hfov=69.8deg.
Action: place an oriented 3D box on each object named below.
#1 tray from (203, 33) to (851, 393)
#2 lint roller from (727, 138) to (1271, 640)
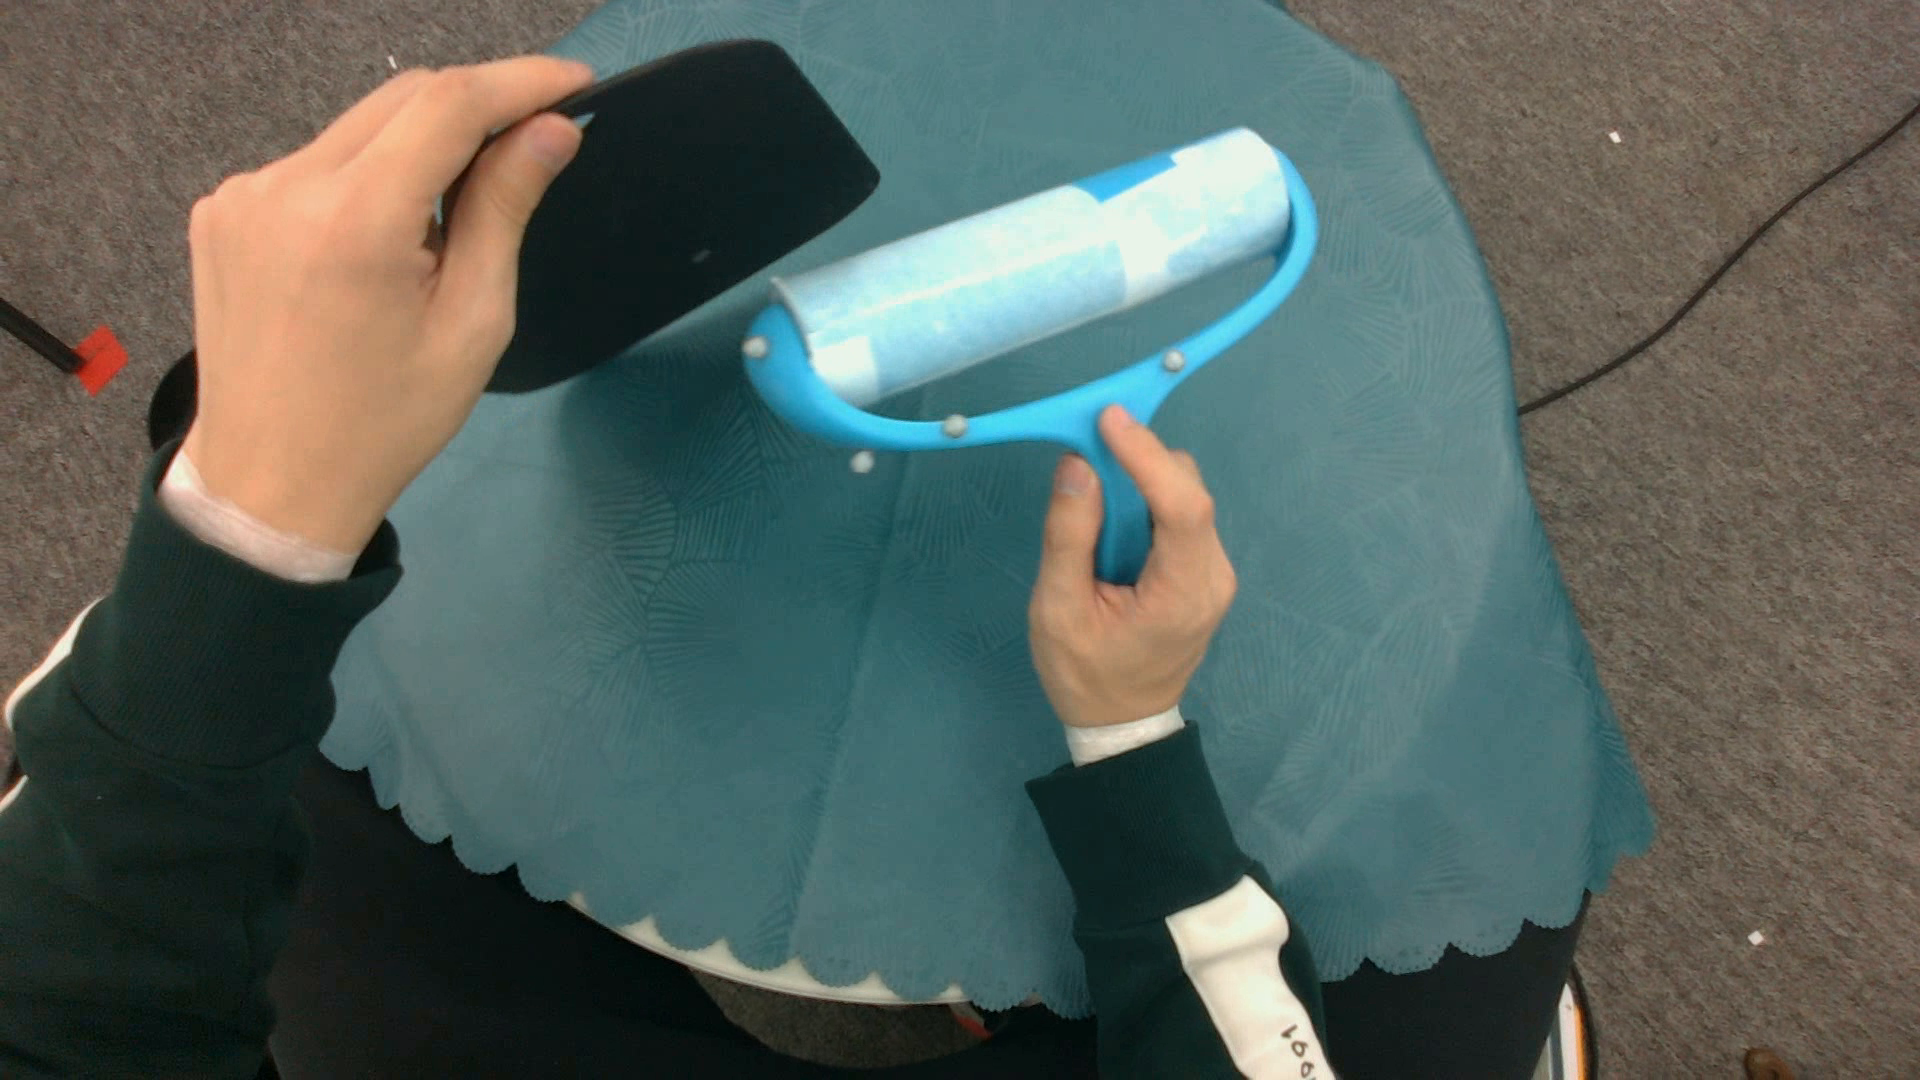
[{"bbox_3d":[-0.148,-0.116,0.546,0.211,0.326,0.010,-31,93,6],"label":"tray"},{"bbox_3d":[0.044,-0.049,0.529,0.229,0.067,0.180,-26,90,-23],"label":"lint roller"}]
